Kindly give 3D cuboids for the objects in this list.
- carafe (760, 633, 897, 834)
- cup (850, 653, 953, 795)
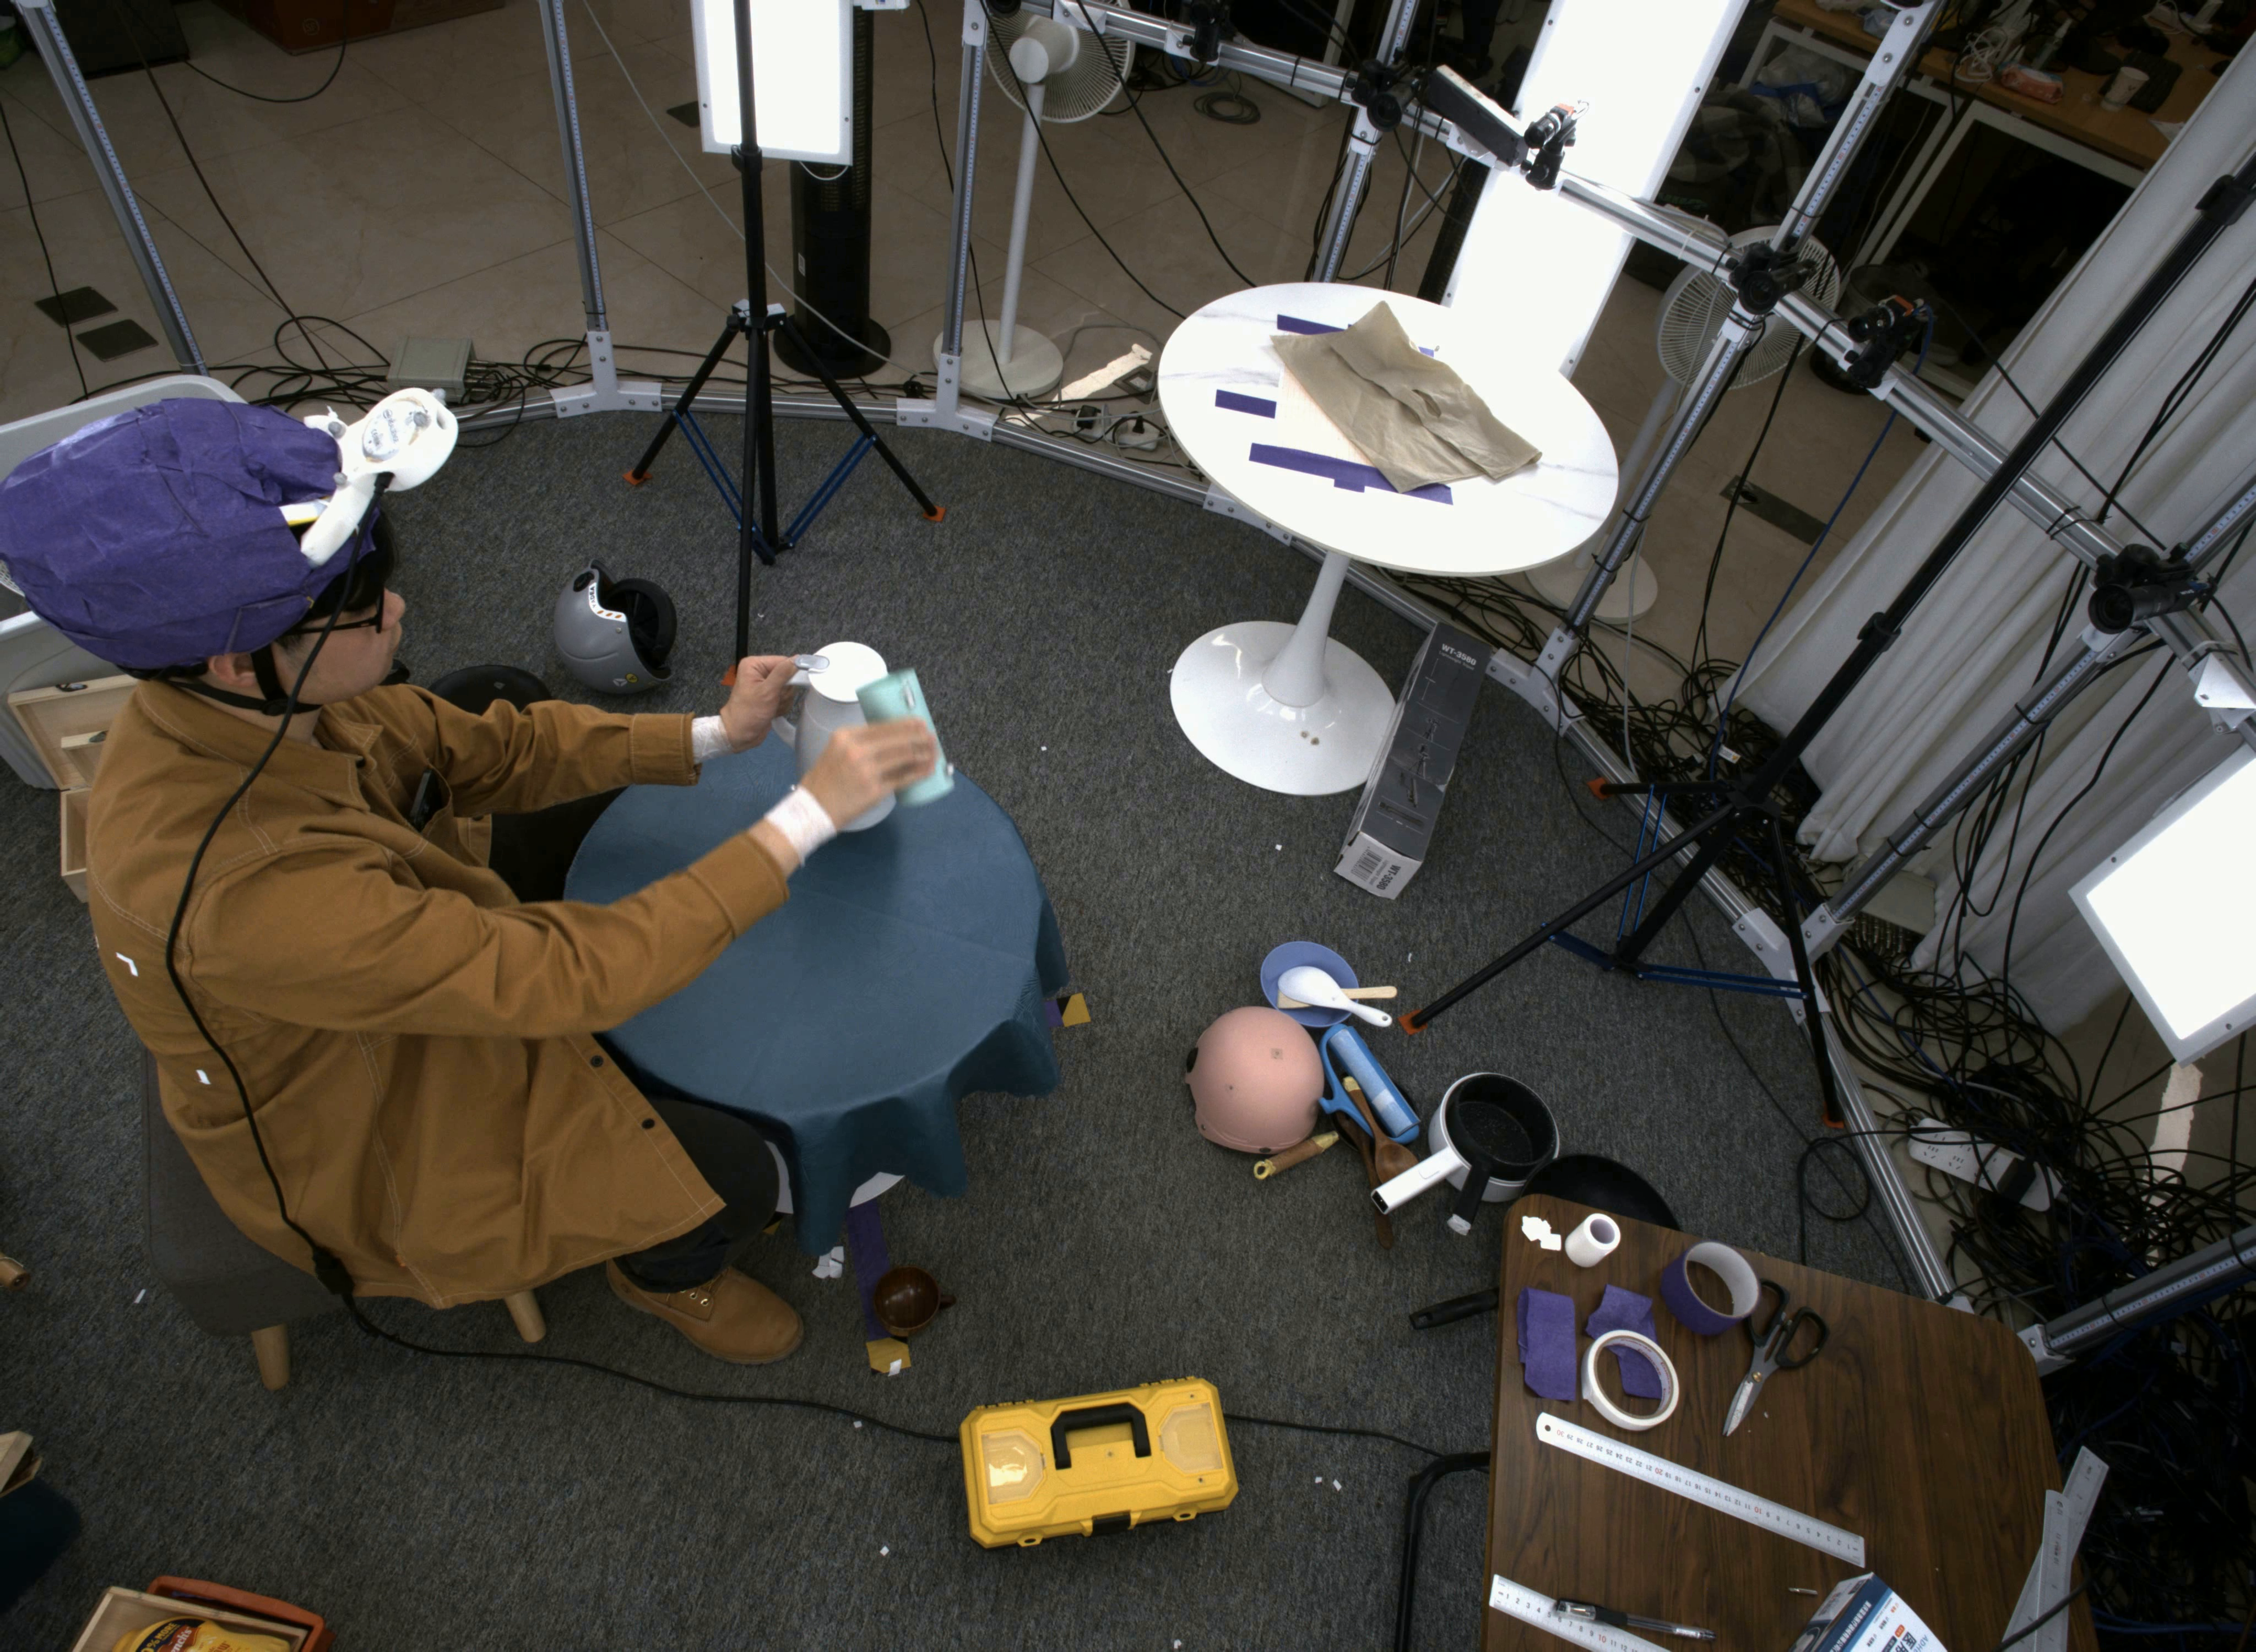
[{"bbox_3d":[-0.368,-0.122,1.592,0.166,0.254,0.131,12,53,-2],"label":"carafe"},{"bbox_3d":[-0.238,-0.106,1.360,0.067,0.065,0.135,-27,106,-29],"label":"cup"}]
